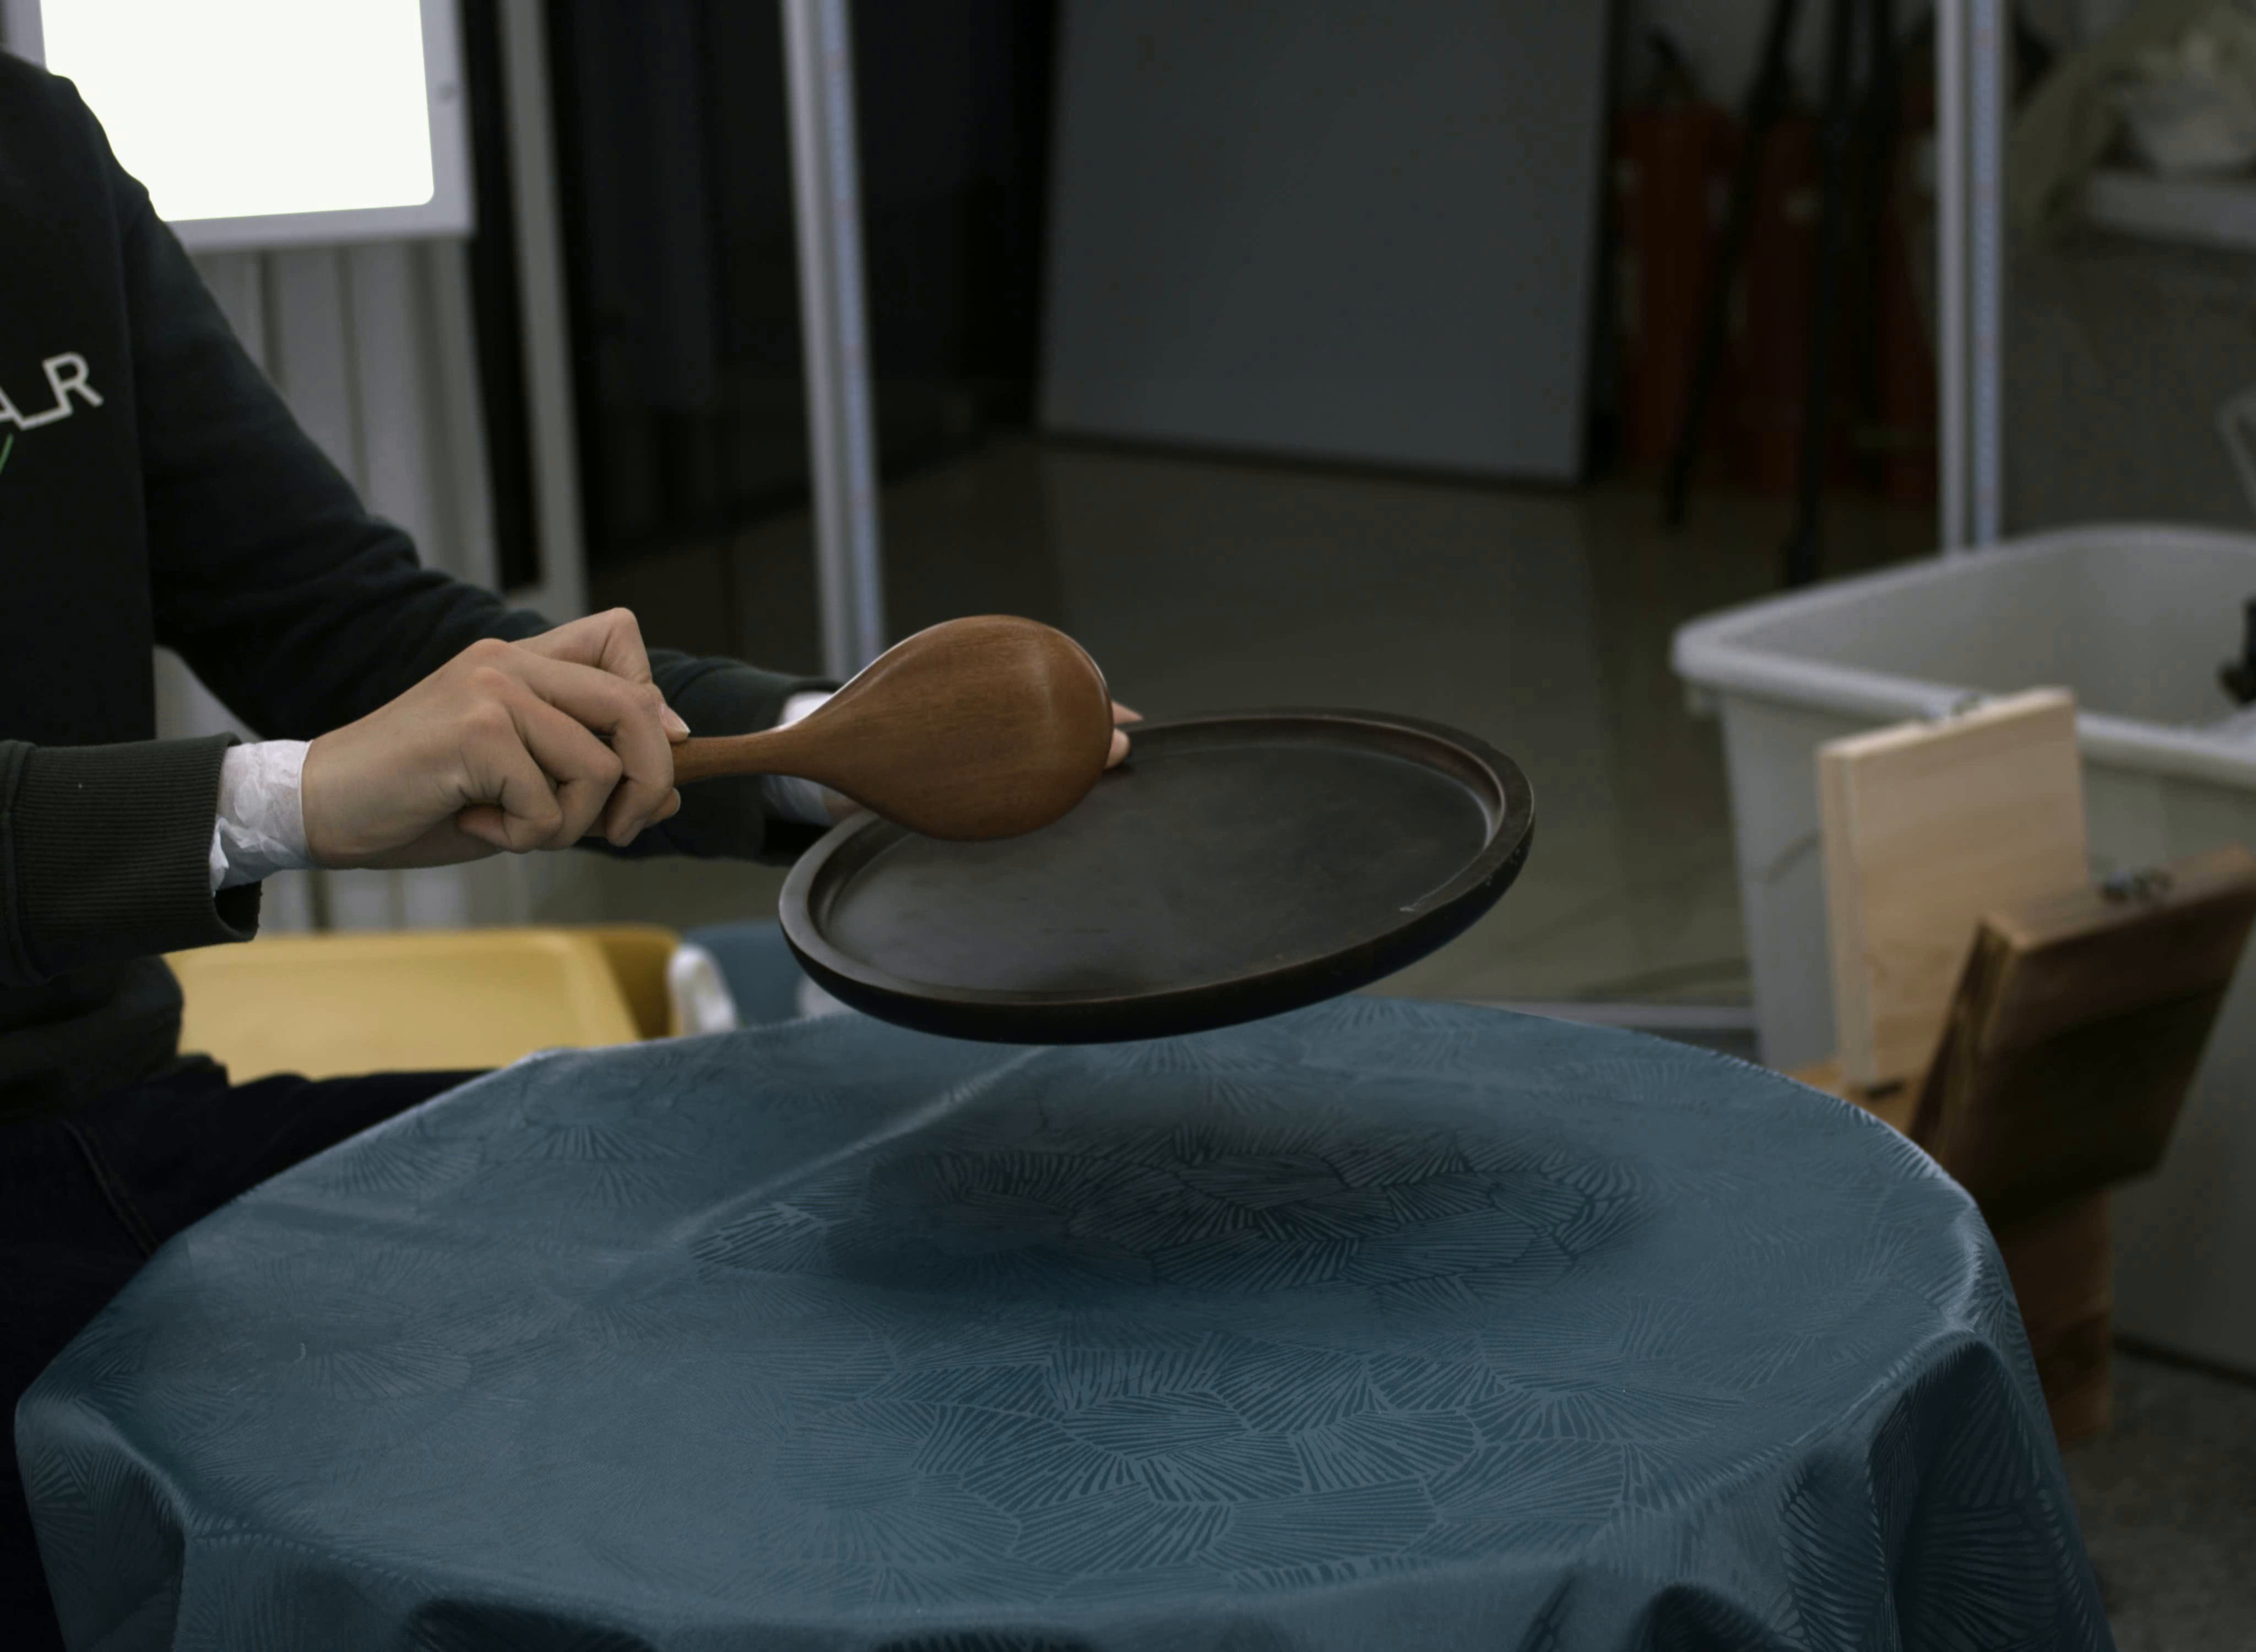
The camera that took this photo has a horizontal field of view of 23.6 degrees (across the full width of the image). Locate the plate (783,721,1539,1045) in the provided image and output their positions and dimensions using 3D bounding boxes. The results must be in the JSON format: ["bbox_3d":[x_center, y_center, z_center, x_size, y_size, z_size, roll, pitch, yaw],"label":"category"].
[{"bbox_3d":[0.011,0.016,1.768,0.252,0.029,0.255,-8,20,2],"label":"plate"}]

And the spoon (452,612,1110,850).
[{"bbox_3d":[-0.106,-0.024,1.695,0.211,0.076,0.017,-5,10,-15],"label":"spoon"}]
